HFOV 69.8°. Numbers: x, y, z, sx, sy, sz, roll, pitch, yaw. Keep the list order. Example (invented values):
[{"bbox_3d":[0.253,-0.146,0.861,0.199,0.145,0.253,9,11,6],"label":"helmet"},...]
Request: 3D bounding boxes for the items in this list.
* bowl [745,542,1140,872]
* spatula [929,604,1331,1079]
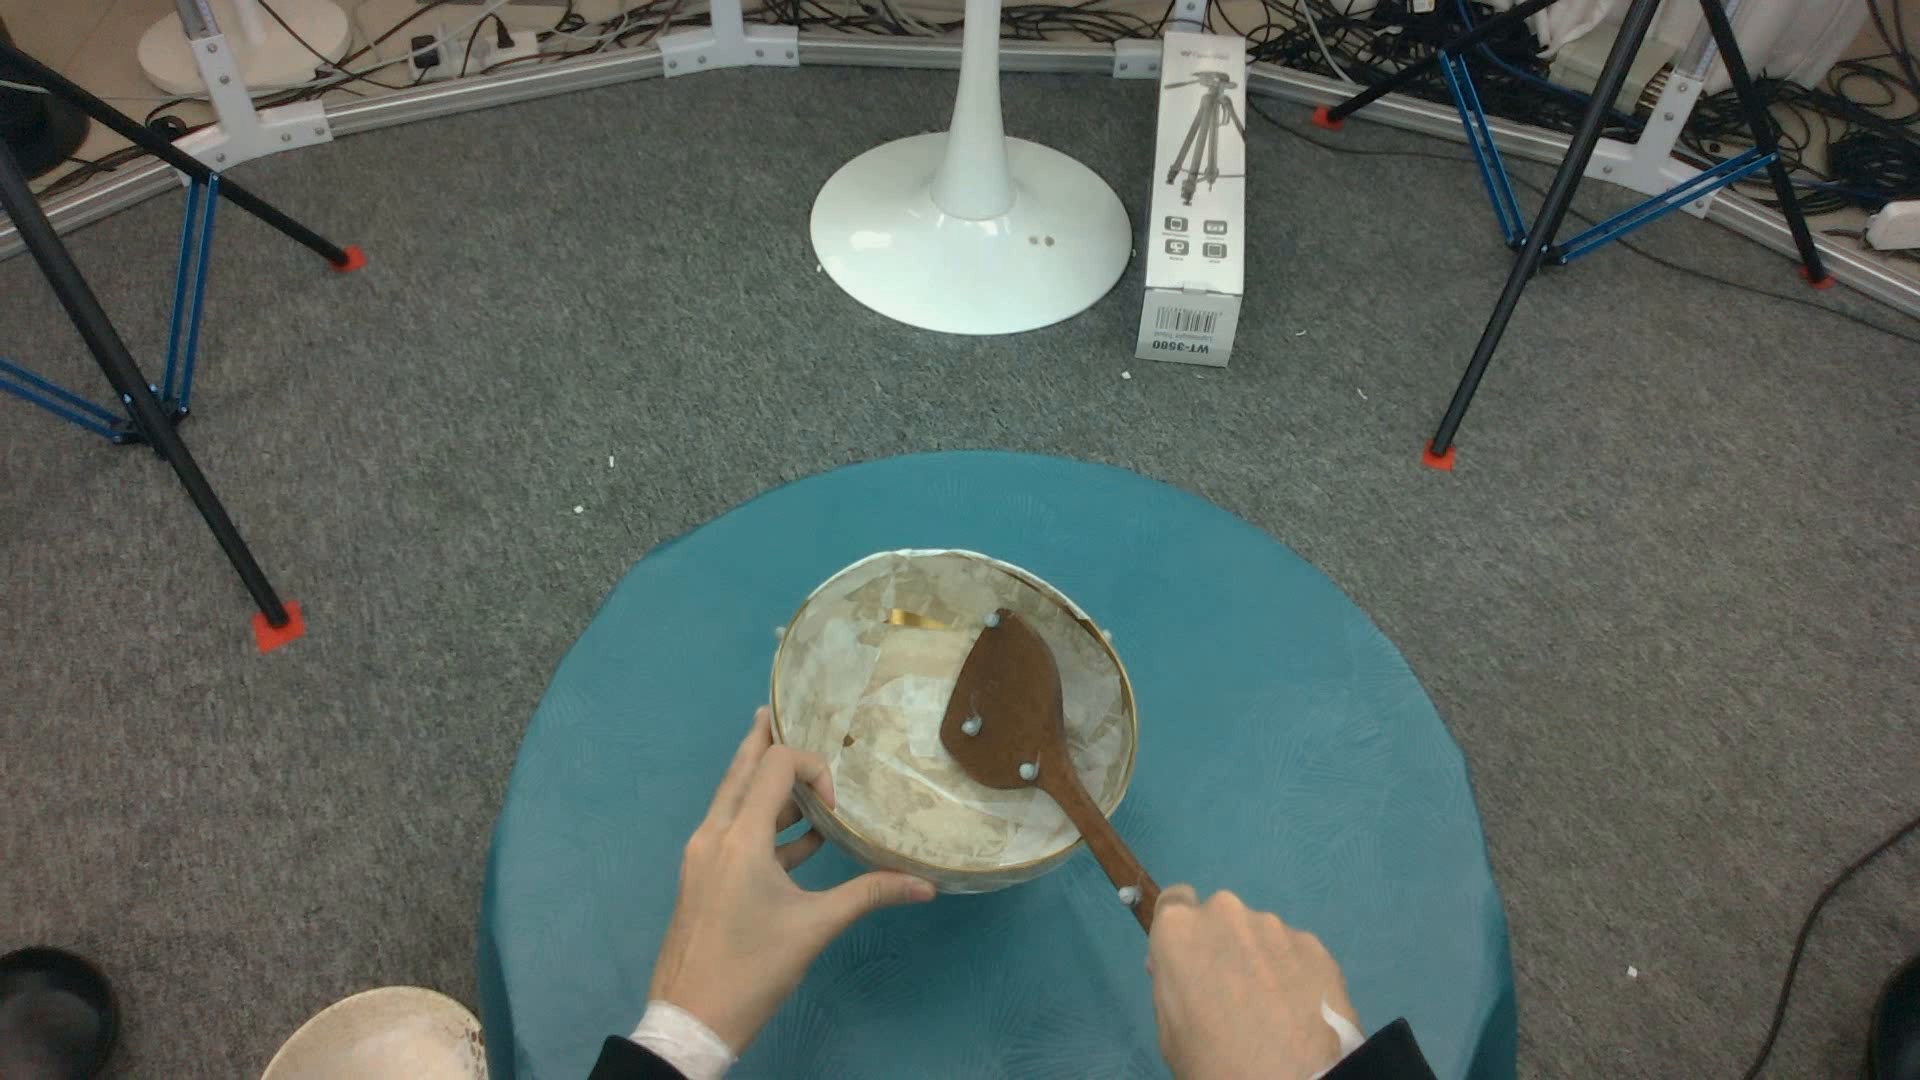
[{"bbox_3d":[-0.016,0.105,0.749,0.215,0.094,0.215,12,41,-10],"label":"bowl"},{"bbox_3d":[0.073,0.152,0.655,0.016,0.096,0.386,17,17,-31],"label":"spatula"}]
